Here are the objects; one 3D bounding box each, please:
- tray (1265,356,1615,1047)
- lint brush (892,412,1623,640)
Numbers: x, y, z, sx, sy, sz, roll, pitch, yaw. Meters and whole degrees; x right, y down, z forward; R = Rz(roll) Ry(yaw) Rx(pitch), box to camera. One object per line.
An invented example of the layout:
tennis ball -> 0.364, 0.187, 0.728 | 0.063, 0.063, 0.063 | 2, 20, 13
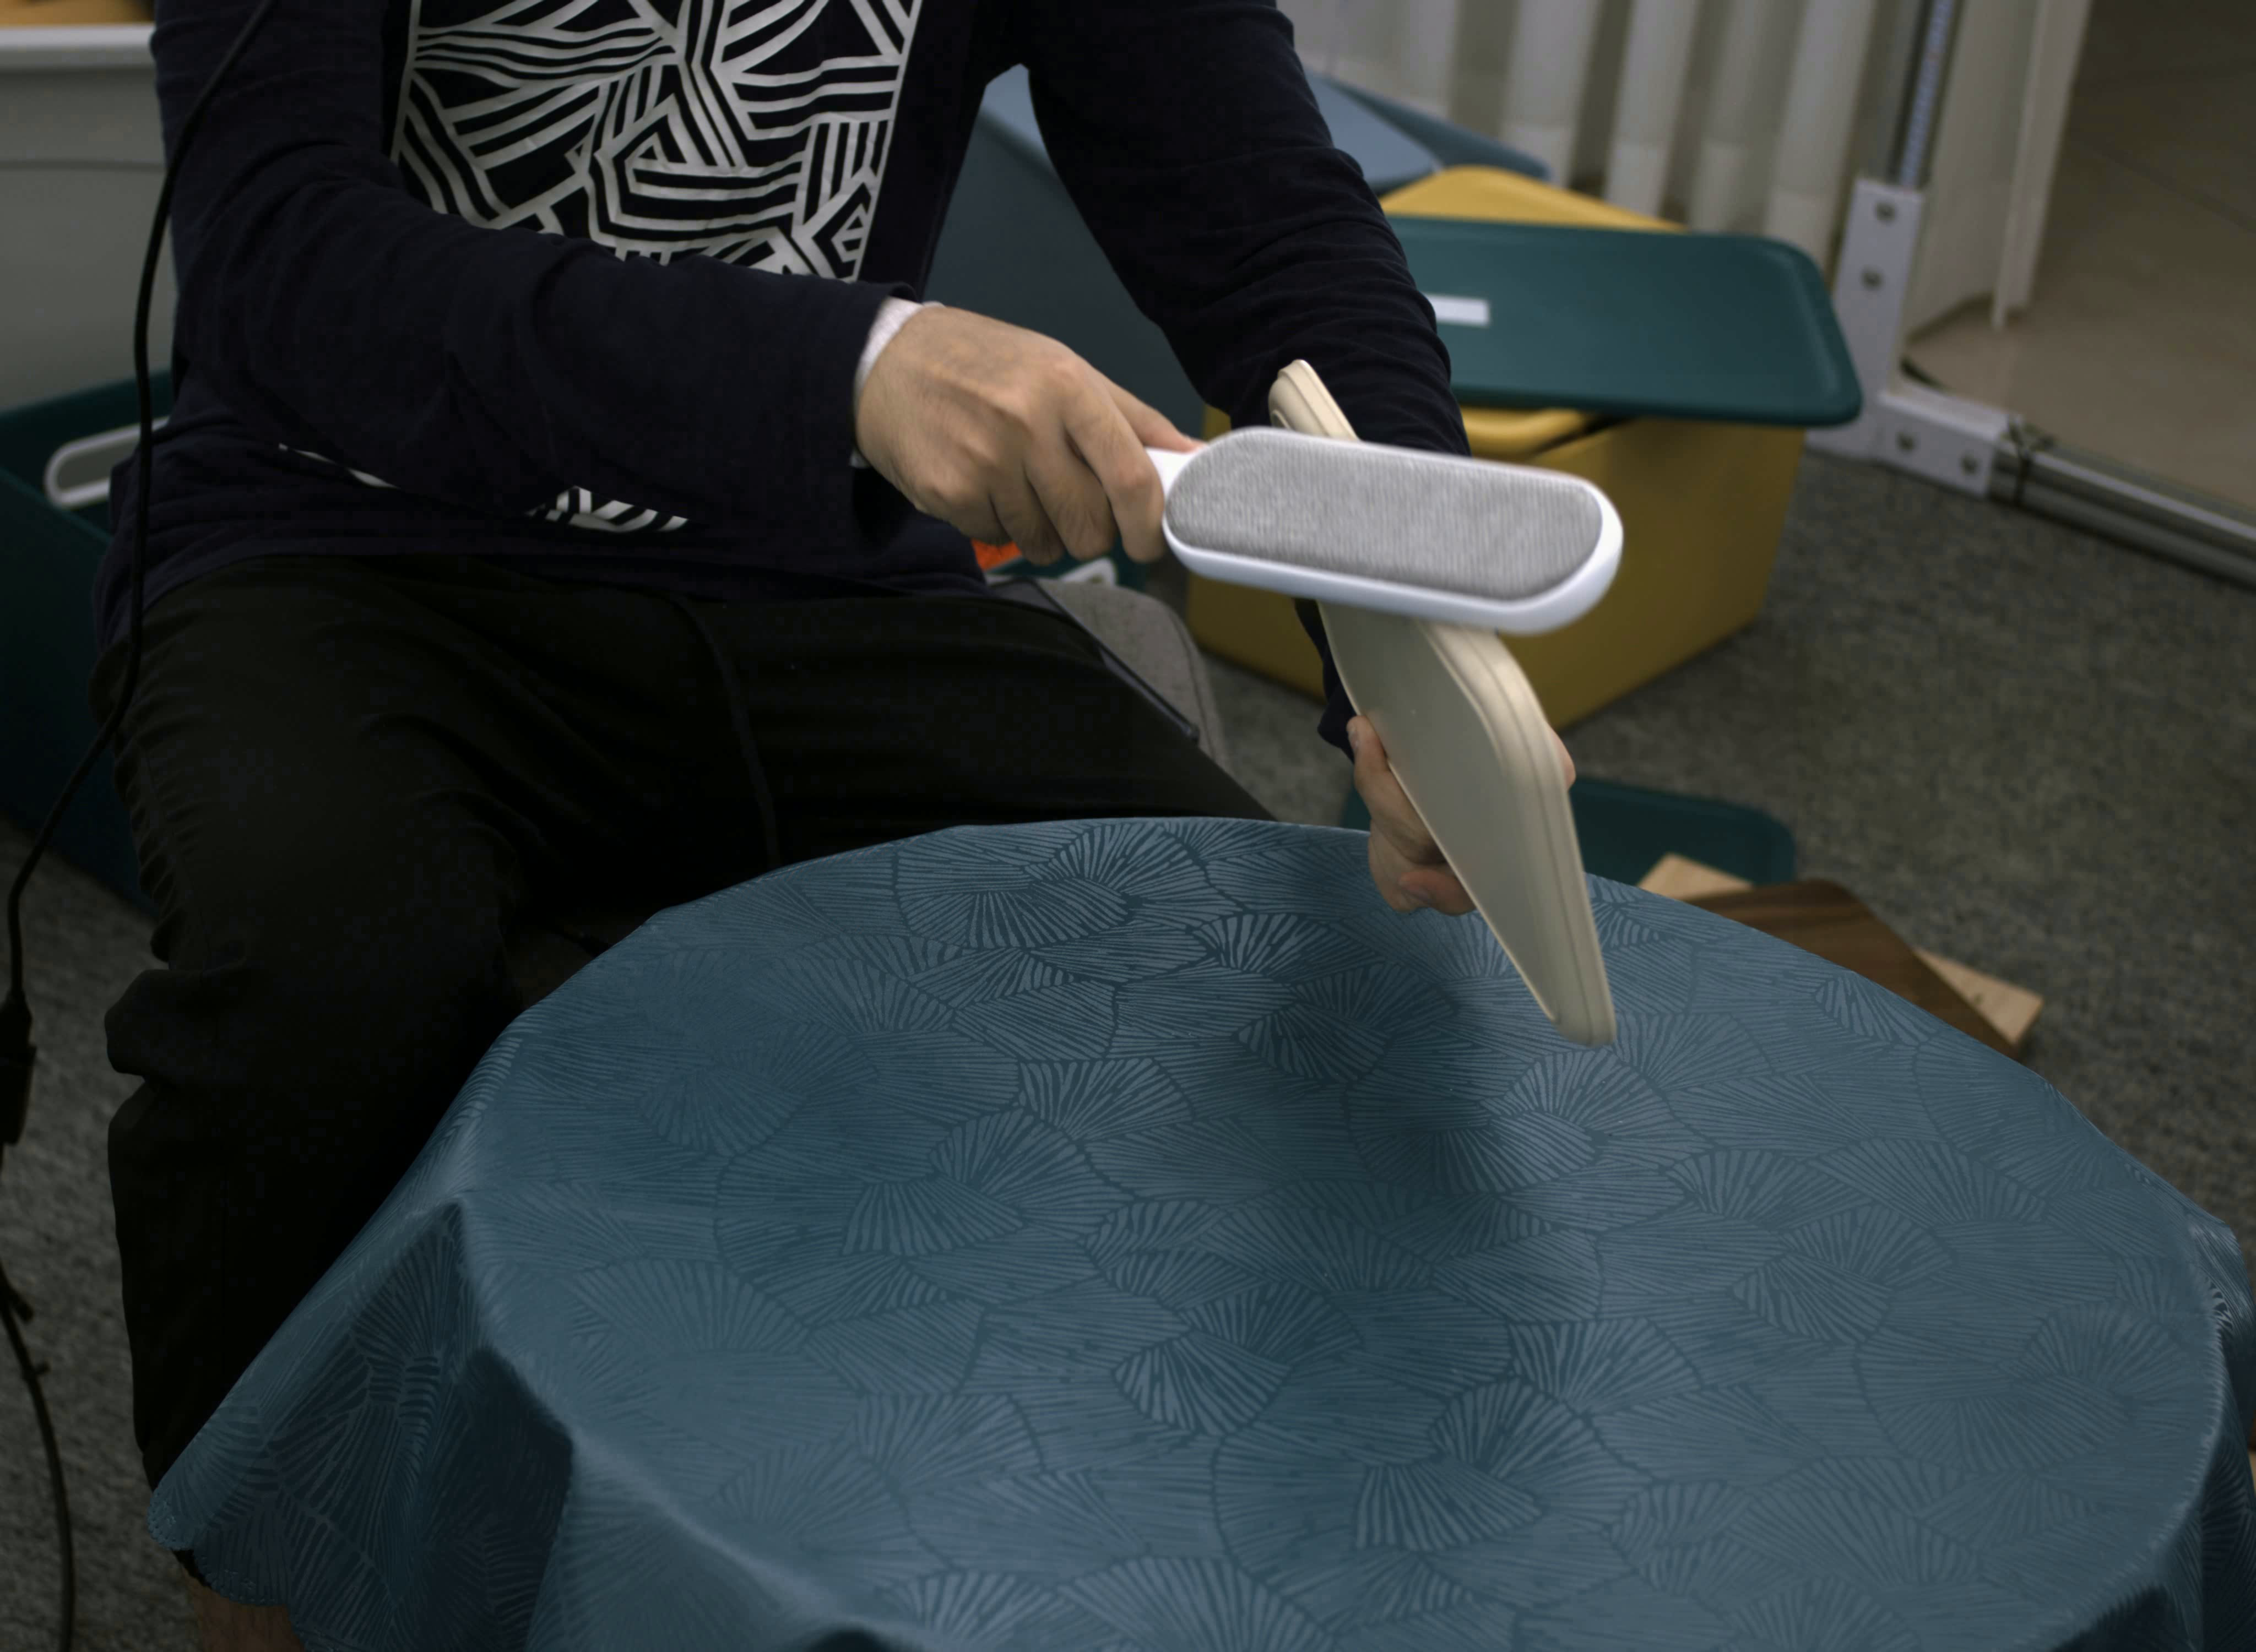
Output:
tray -> 0.103, -0.042, 1.828 | 0.017, 0.170, 0.242 | -23, 42, -5
lint brush -> 0.037, -0.109, 1.791 | 0.311, 0.021, 0.060 | 13, 68, 40
